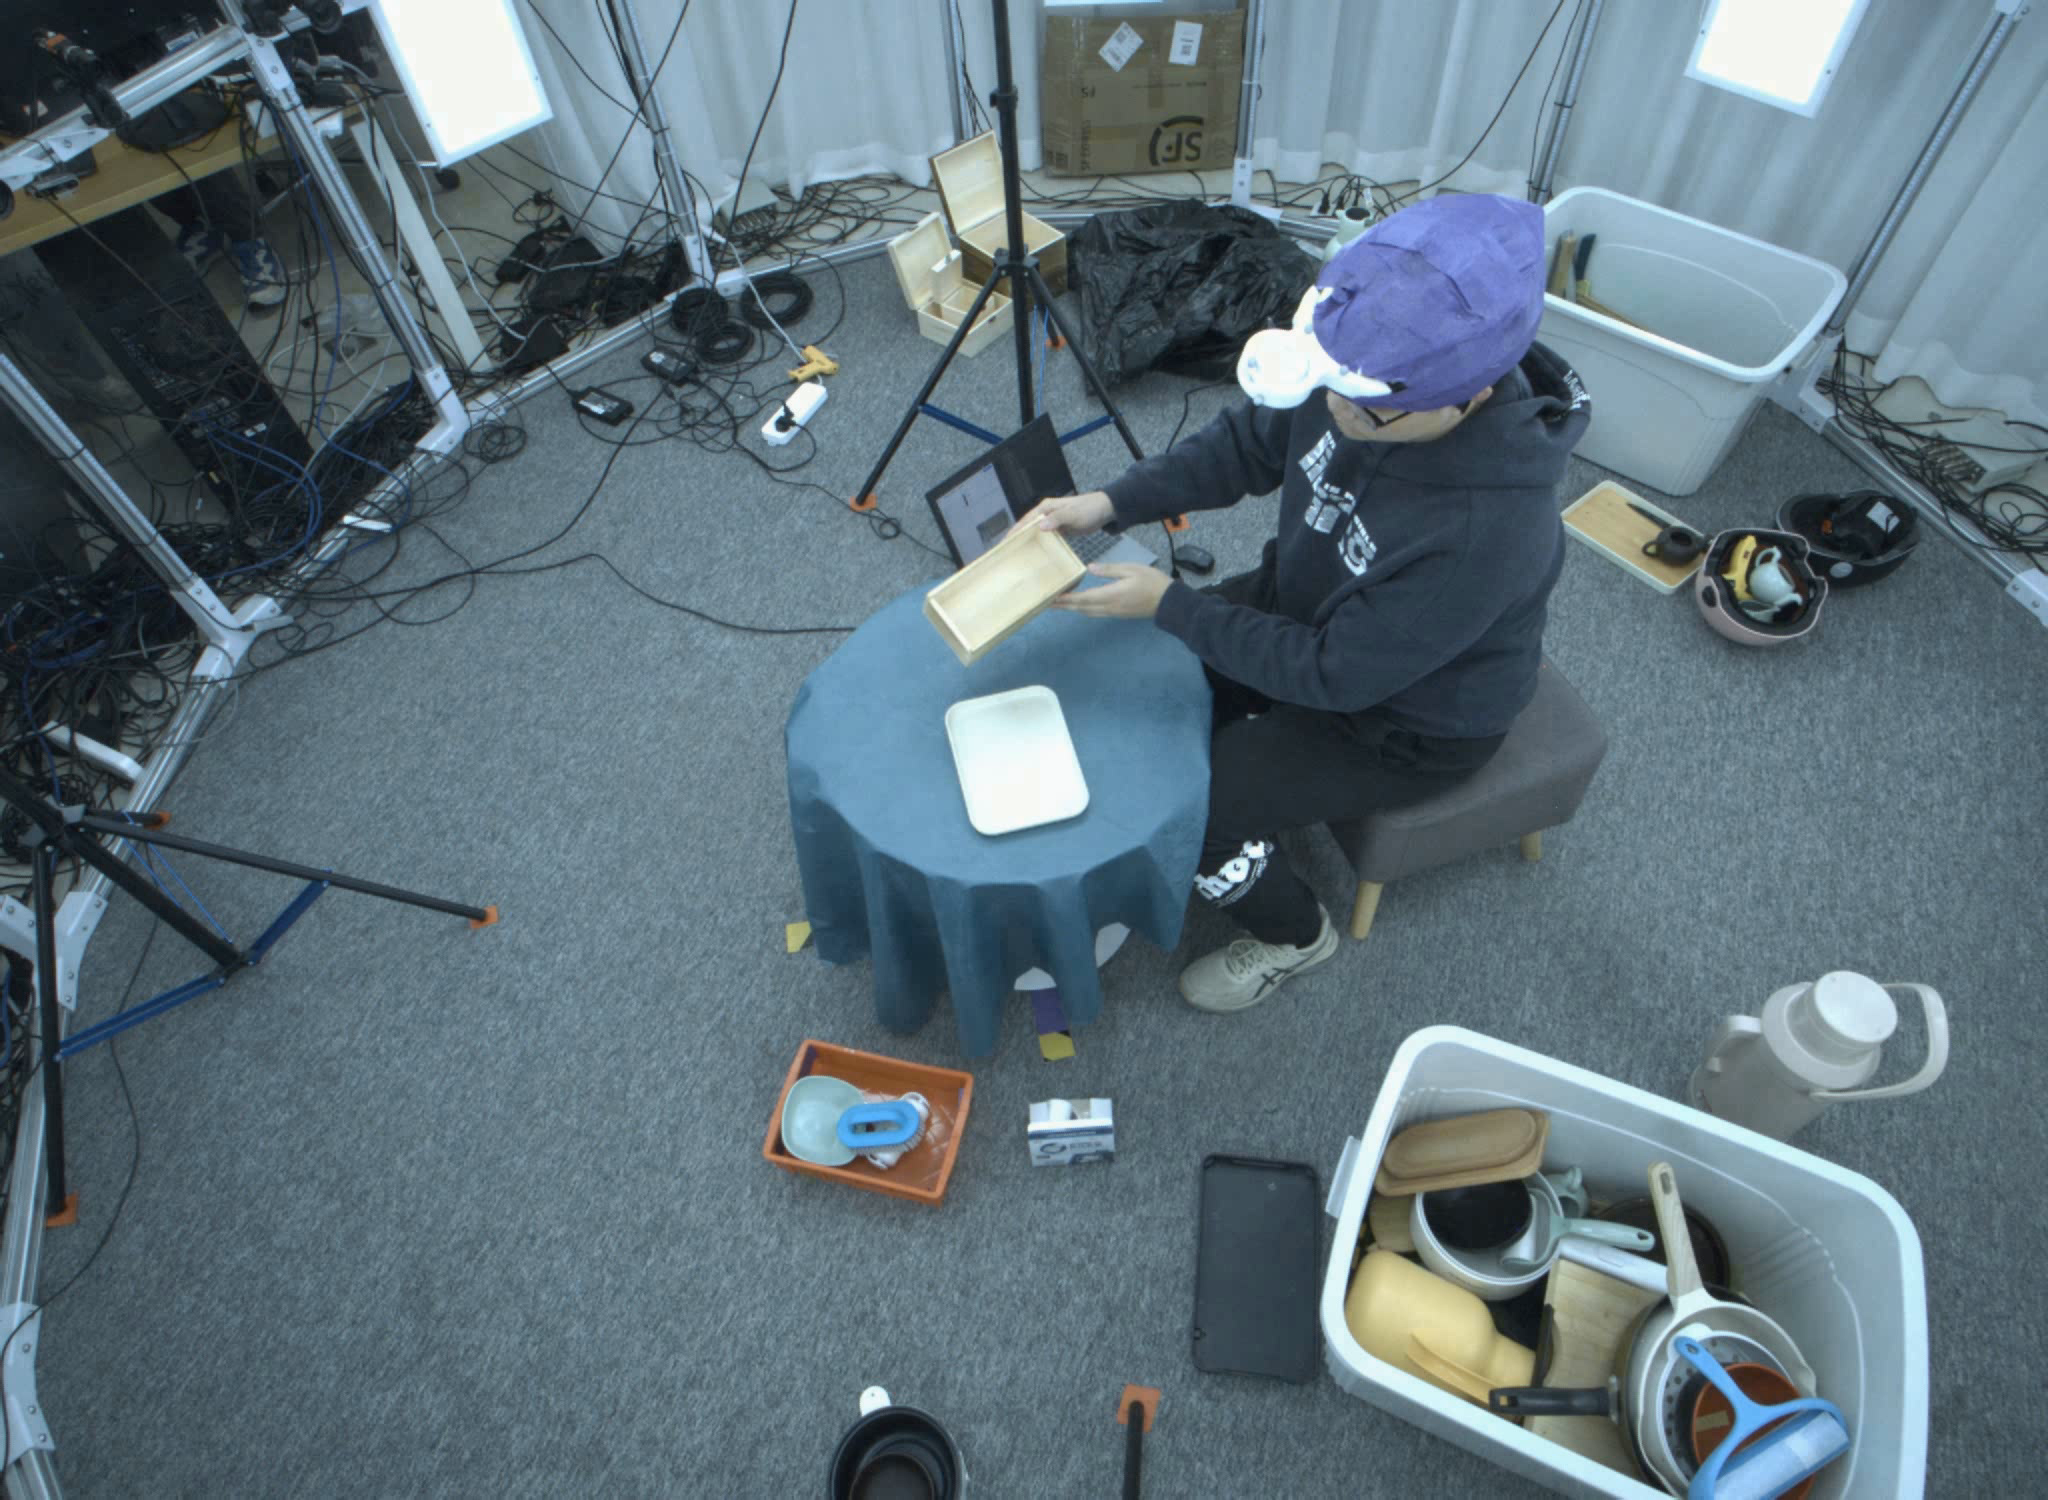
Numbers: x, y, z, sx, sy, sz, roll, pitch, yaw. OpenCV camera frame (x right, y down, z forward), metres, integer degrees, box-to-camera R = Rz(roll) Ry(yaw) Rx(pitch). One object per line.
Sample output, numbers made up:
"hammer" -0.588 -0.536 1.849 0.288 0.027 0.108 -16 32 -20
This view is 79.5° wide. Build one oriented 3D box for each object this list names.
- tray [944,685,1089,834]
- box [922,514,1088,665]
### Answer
"tray" -0.012 0.013 1.769 0.172 0.017 0.236 -12 55 -8
"box" -0.029 -0.230 1.762 0.212 0.080 0.107 -37 89 -14
